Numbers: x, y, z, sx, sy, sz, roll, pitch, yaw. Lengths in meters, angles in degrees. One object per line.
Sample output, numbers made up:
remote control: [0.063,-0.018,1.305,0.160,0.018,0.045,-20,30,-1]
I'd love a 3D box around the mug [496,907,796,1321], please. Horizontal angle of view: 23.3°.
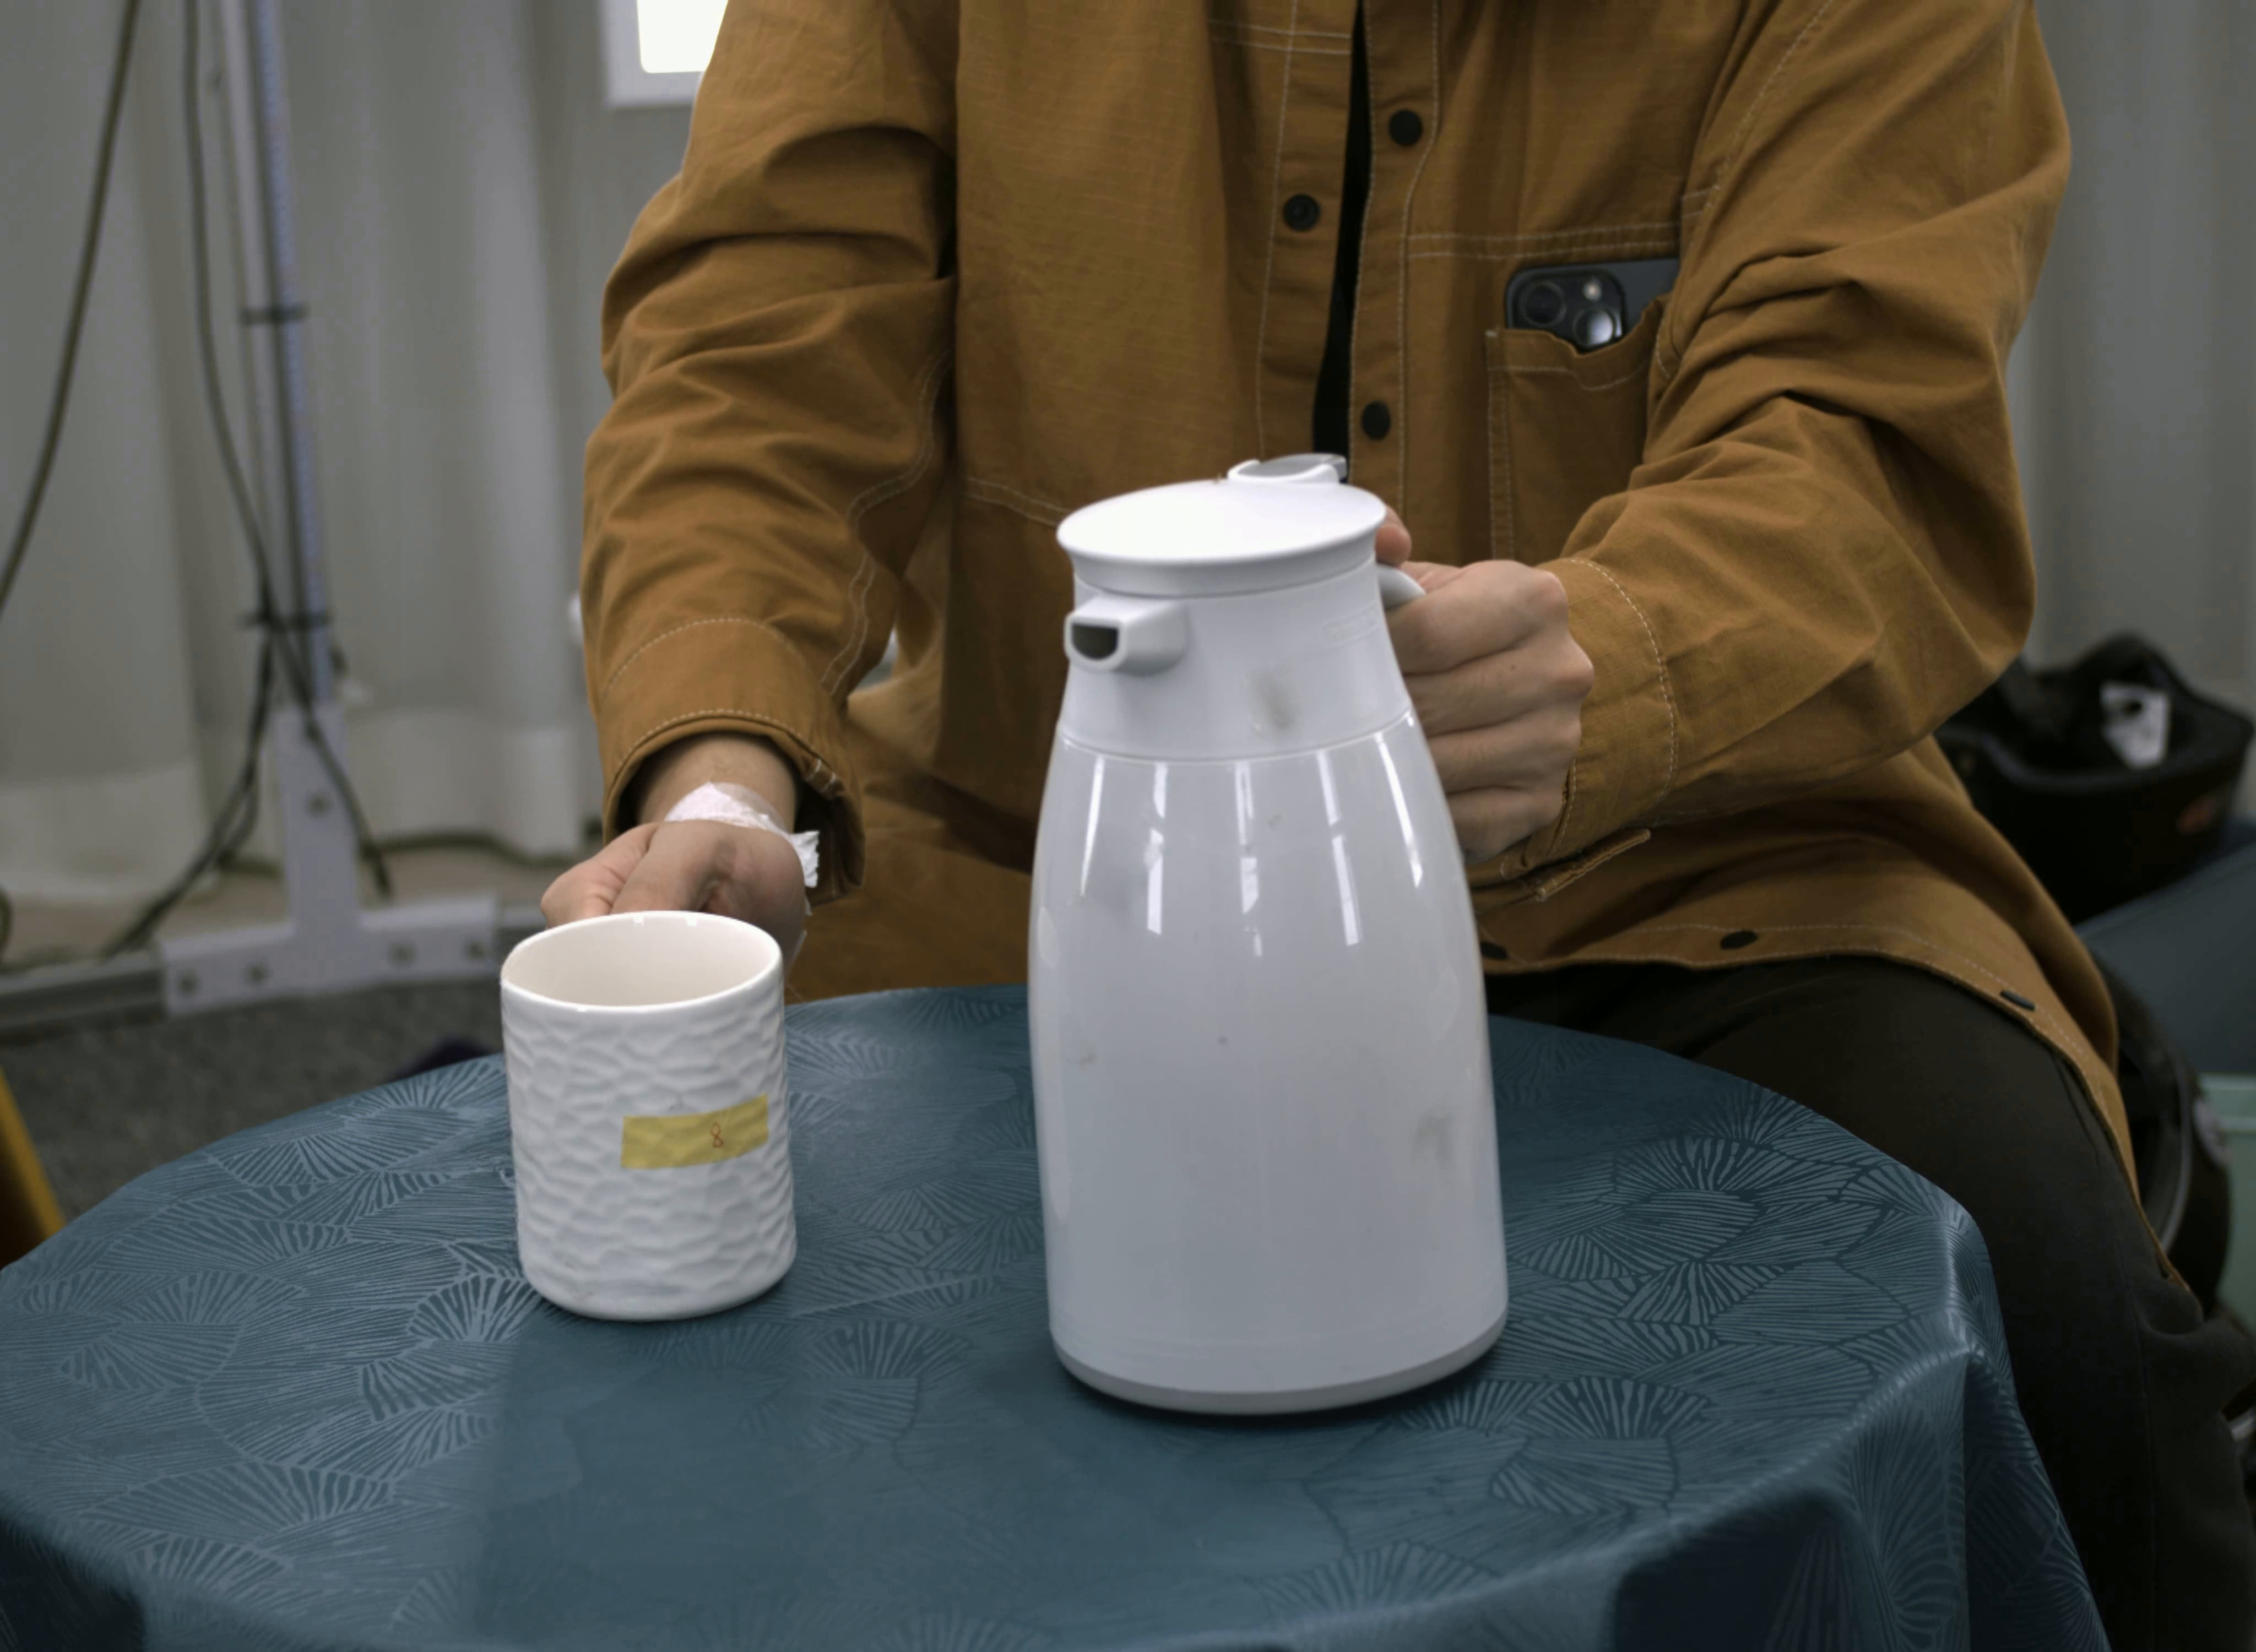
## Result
mug: [-0.145,0.082,1.654,0.084,0.101,0.119,-4,18,-5]

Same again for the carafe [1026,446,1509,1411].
carafe: [0.044,0.020,1.552,0.133,0.247,0.168,5,17,34]
